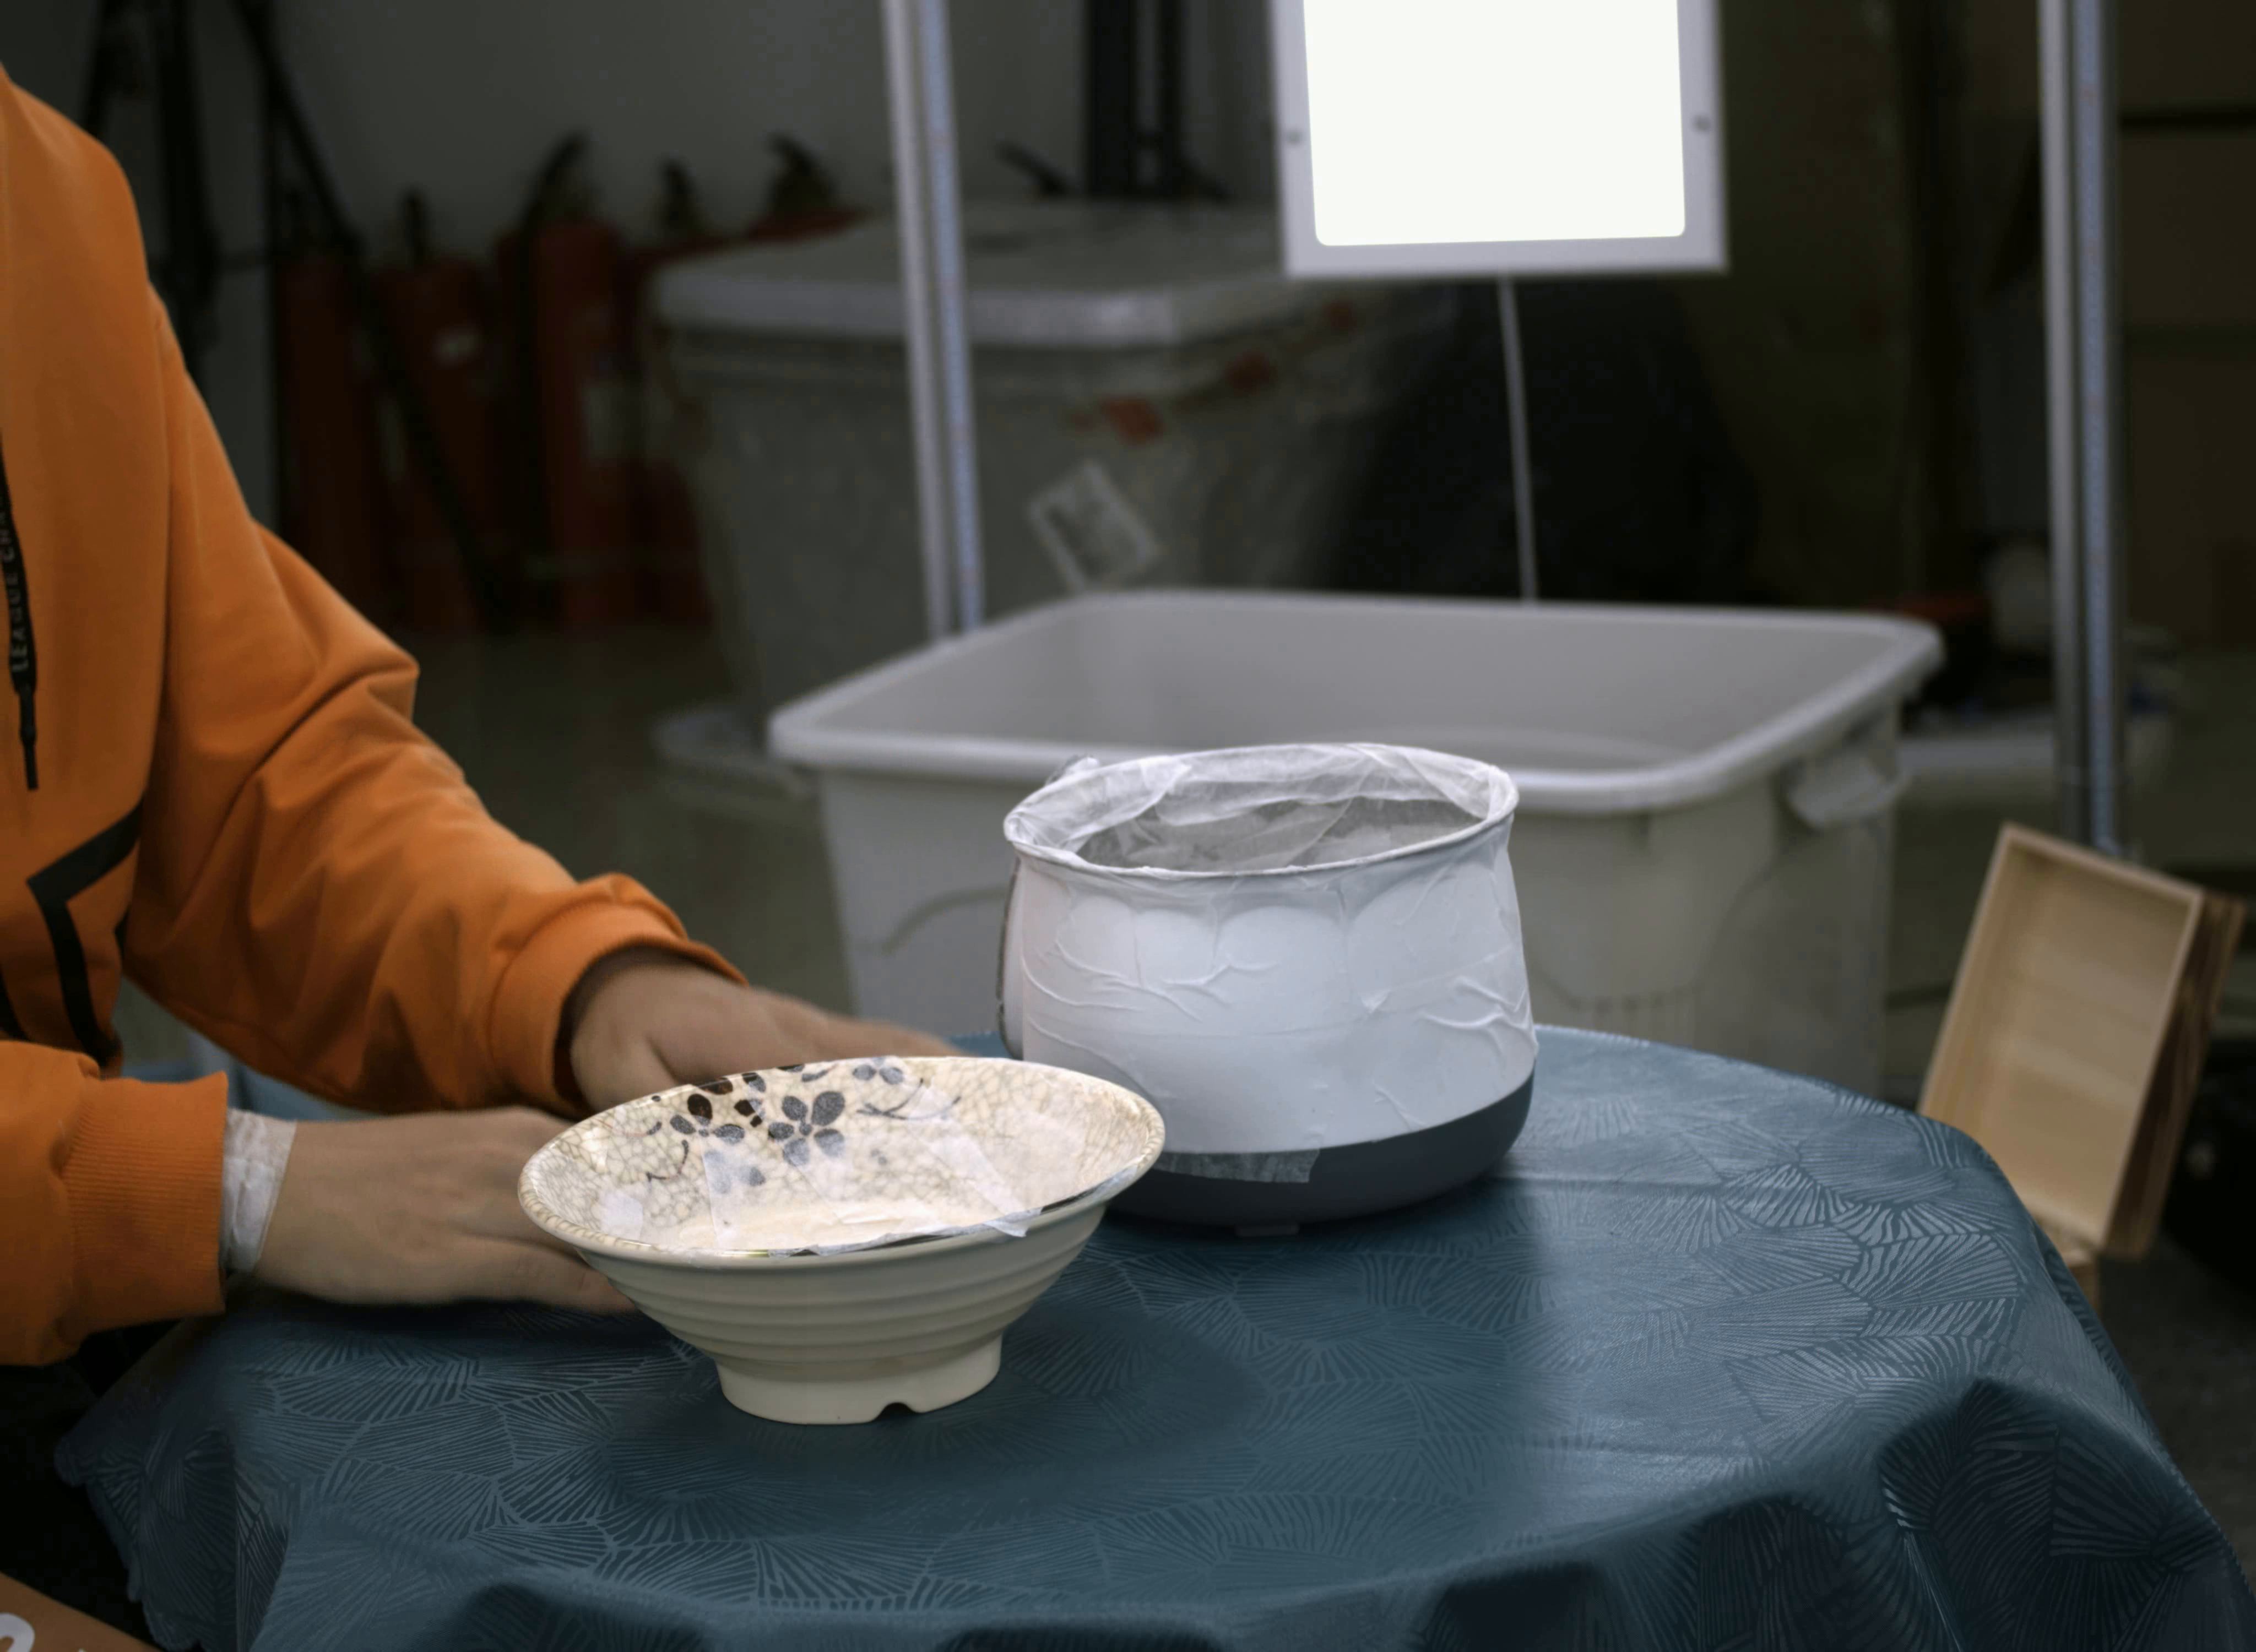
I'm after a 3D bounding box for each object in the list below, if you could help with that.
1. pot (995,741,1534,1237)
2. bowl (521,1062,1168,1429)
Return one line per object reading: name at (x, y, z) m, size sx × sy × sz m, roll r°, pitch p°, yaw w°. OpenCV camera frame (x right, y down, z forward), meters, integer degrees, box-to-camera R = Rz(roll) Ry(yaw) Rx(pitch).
pot at (0.032, 0.050, 1.907) m, size 0.174 × 0.137 × 0.238 m, roll -15°, pitch 17°, yaw -37°
bowl at (-0.084, 0.138, 1.725) m, size 0.203 × 0.078 × 0.204 m, roll -7°, pitch 13°, yaw 0°
